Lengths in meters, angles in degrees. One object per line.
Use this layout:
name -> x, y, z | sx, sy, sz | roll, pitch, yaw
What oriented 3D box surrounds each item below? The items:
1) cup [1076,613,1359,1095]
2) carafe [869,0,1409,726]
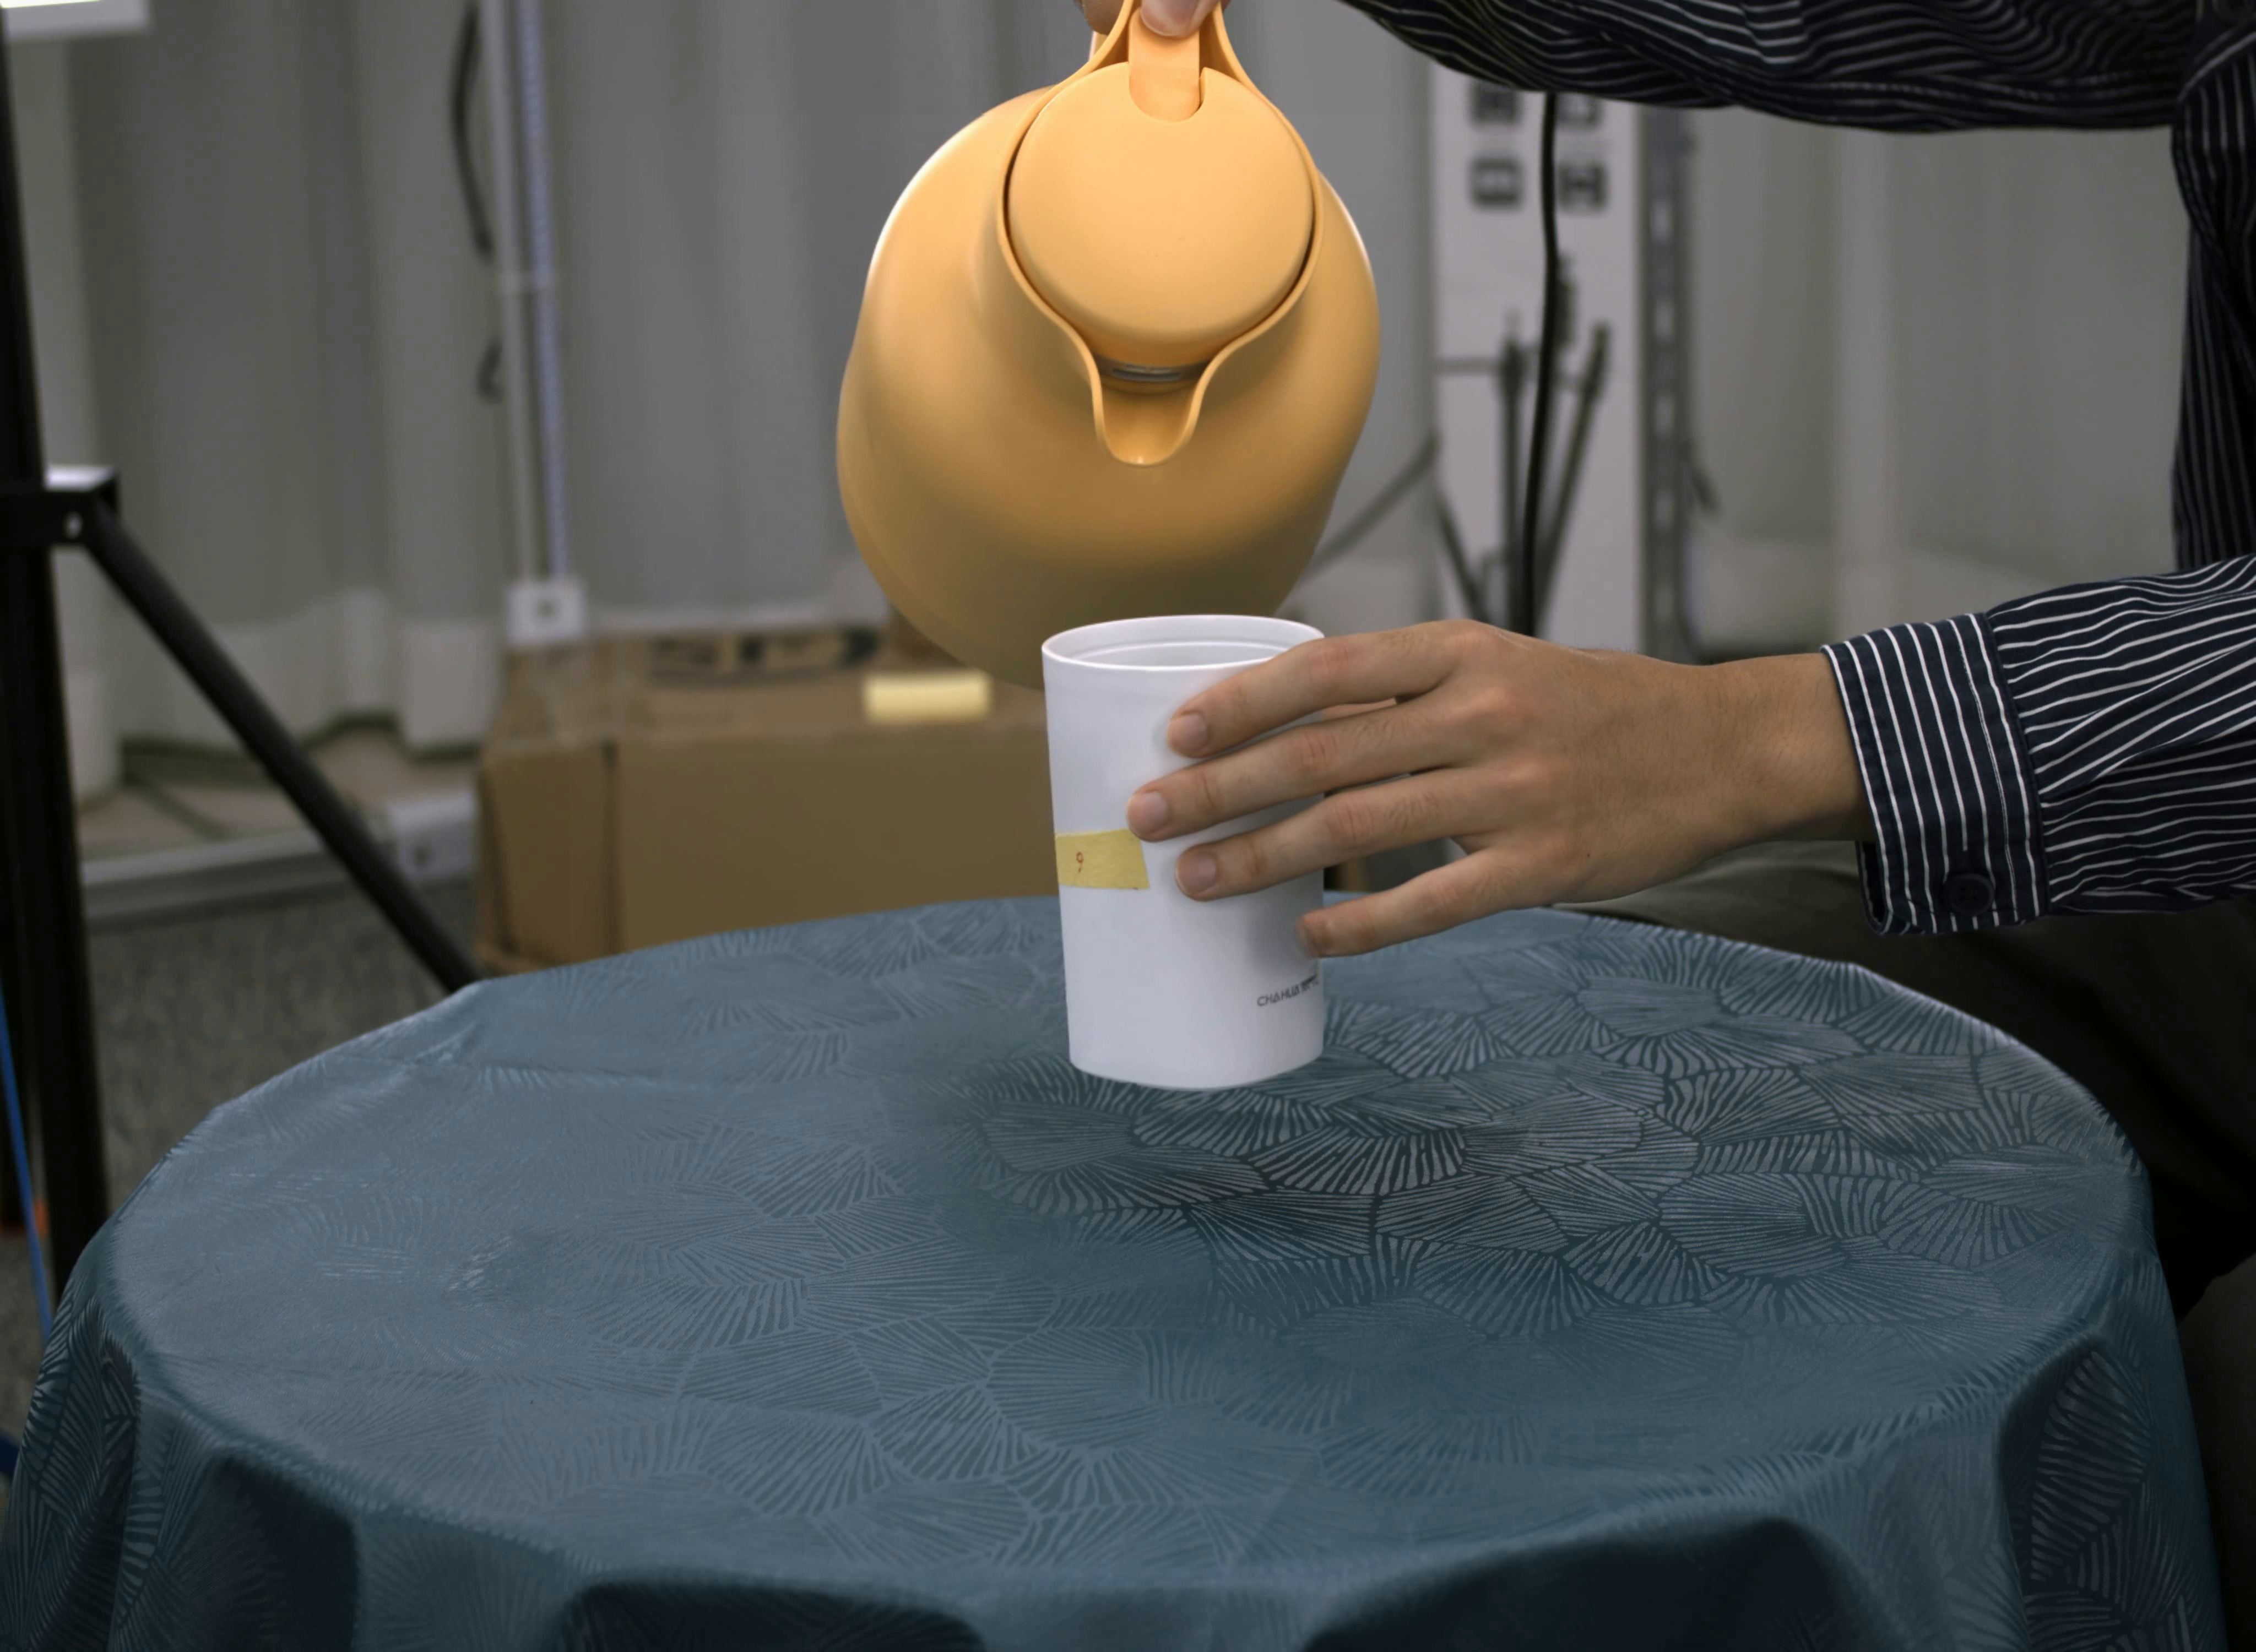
cup -> 0.027, 0.008, 1.522 | 0.081, 0.125, 0.082 | -1, 11, -1
carafe -> 0.008, -0.156, 1.656 | 0.162, 0.204, 0.260 | 4, -16, -5
